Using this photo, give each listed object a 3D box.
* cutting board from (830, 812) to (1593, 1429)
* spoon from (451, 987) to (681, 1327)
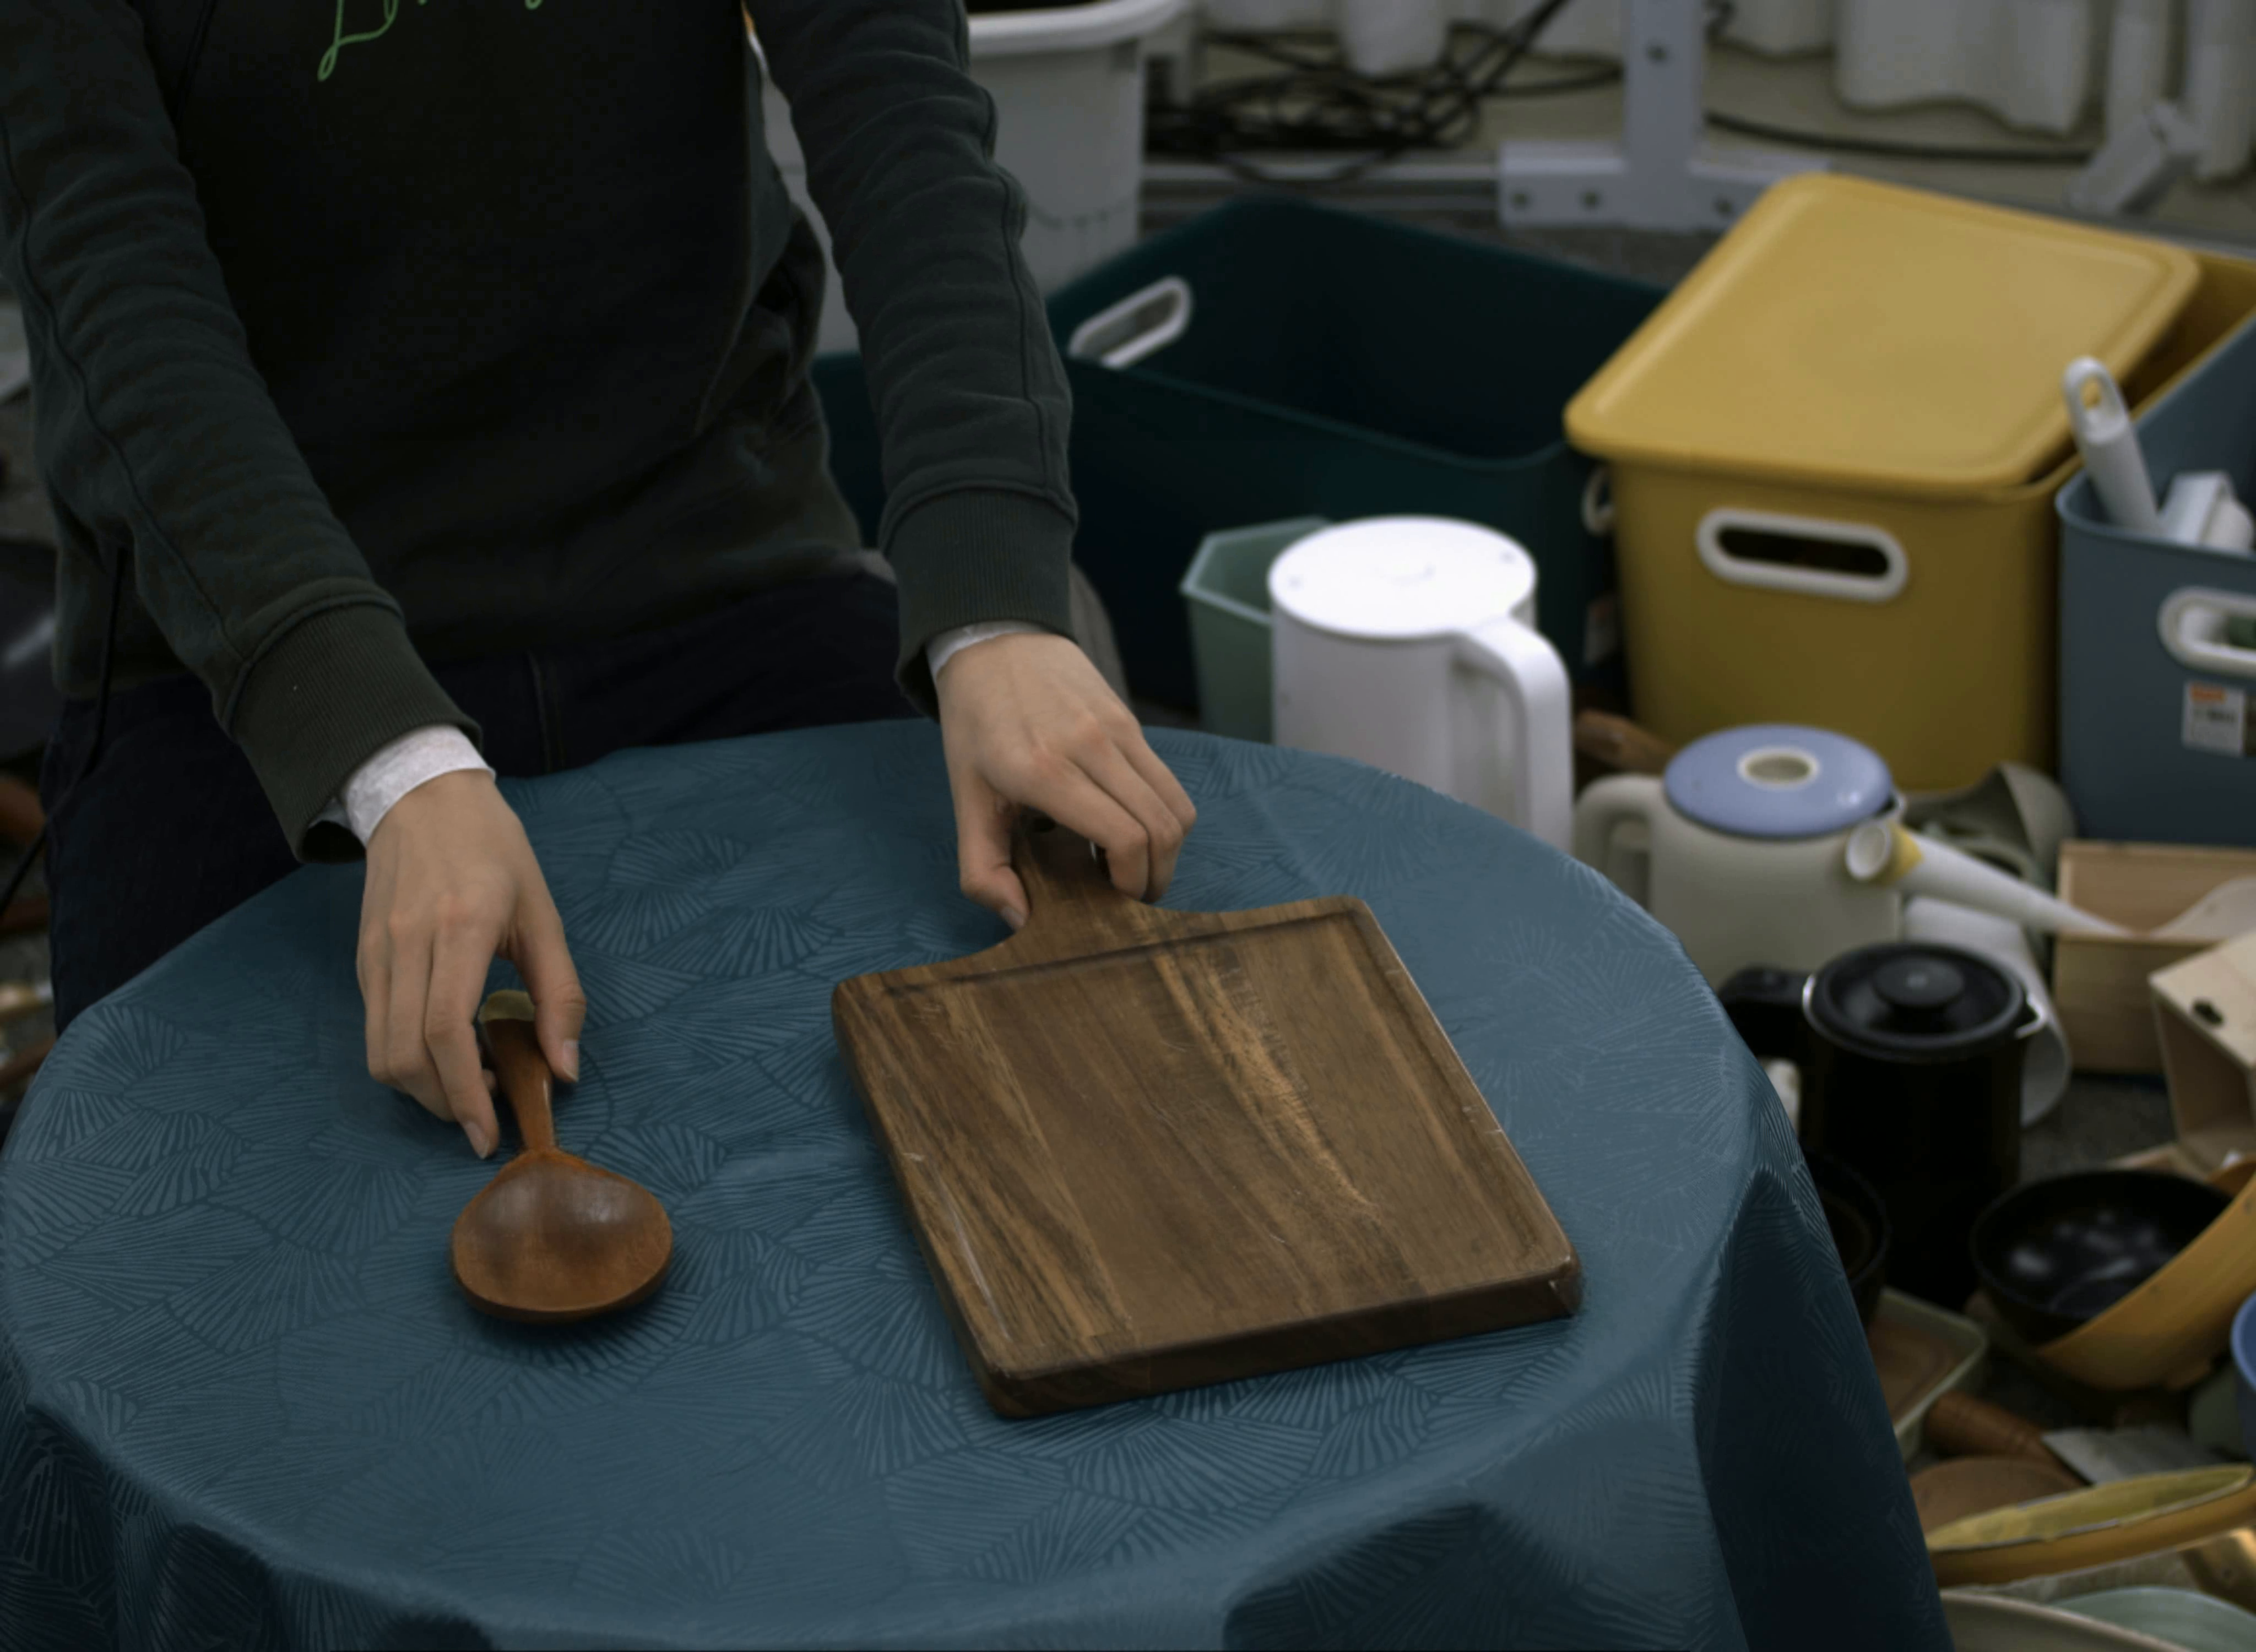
[{"bbox_3d":[0.010,0.084,1.906,0.201,0.023,0.356,-10,29,-11],"label":"cutting board"},{"bbox_3d":[-0.195,0.111,1.881,0.075,0.017,0.218,-9,29,-8],"label":"spoon"}]
